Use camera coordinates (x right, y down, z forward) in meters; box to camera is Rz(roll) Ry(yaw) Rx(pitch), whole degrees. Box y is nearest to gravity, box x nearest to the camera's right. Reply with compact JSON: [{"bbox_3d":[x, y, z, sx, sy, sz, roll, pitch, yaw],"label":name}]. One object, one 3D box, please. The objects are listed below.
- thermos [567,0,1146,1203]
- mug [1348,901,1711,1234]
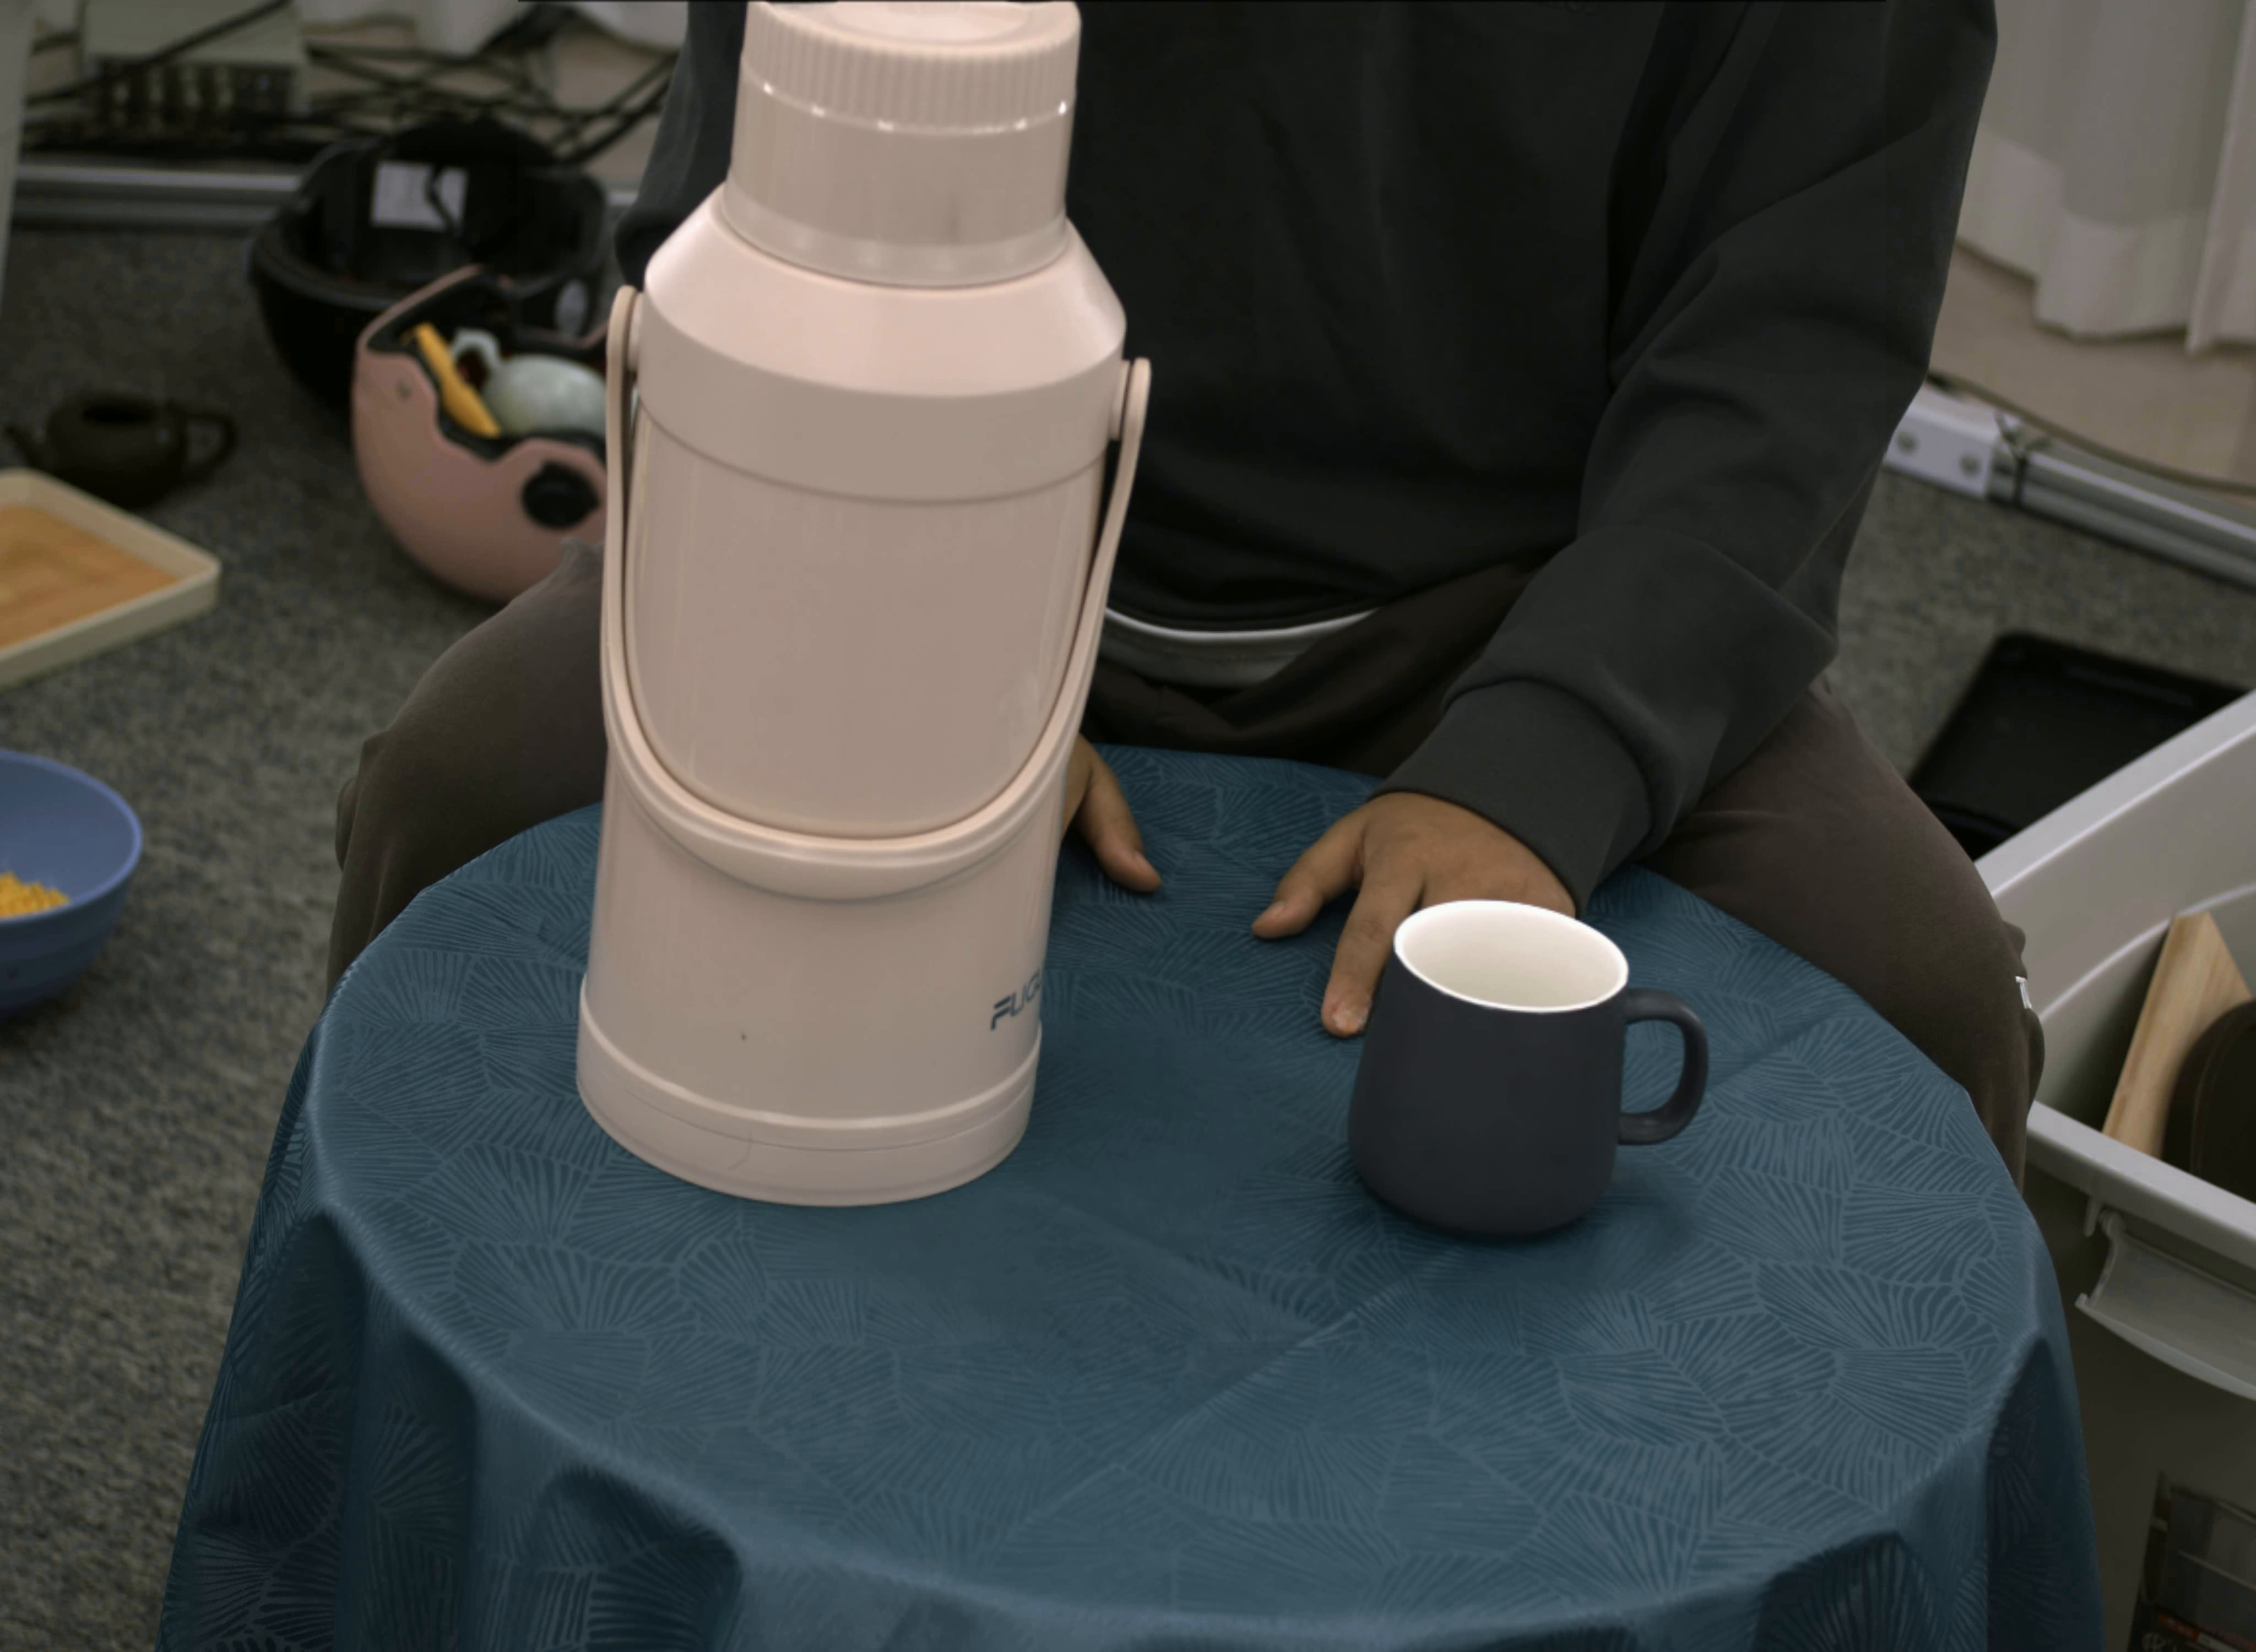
[{"bbox_3d":[-0.089,-0.091,1.770,0.175,0.405,0.208,8,27,1],"label":"thermos"},{"bbox_3d":[0.139,0.083,1.819,0.122,0.089,0.094,2,27,-10],"label":"mug"}]
